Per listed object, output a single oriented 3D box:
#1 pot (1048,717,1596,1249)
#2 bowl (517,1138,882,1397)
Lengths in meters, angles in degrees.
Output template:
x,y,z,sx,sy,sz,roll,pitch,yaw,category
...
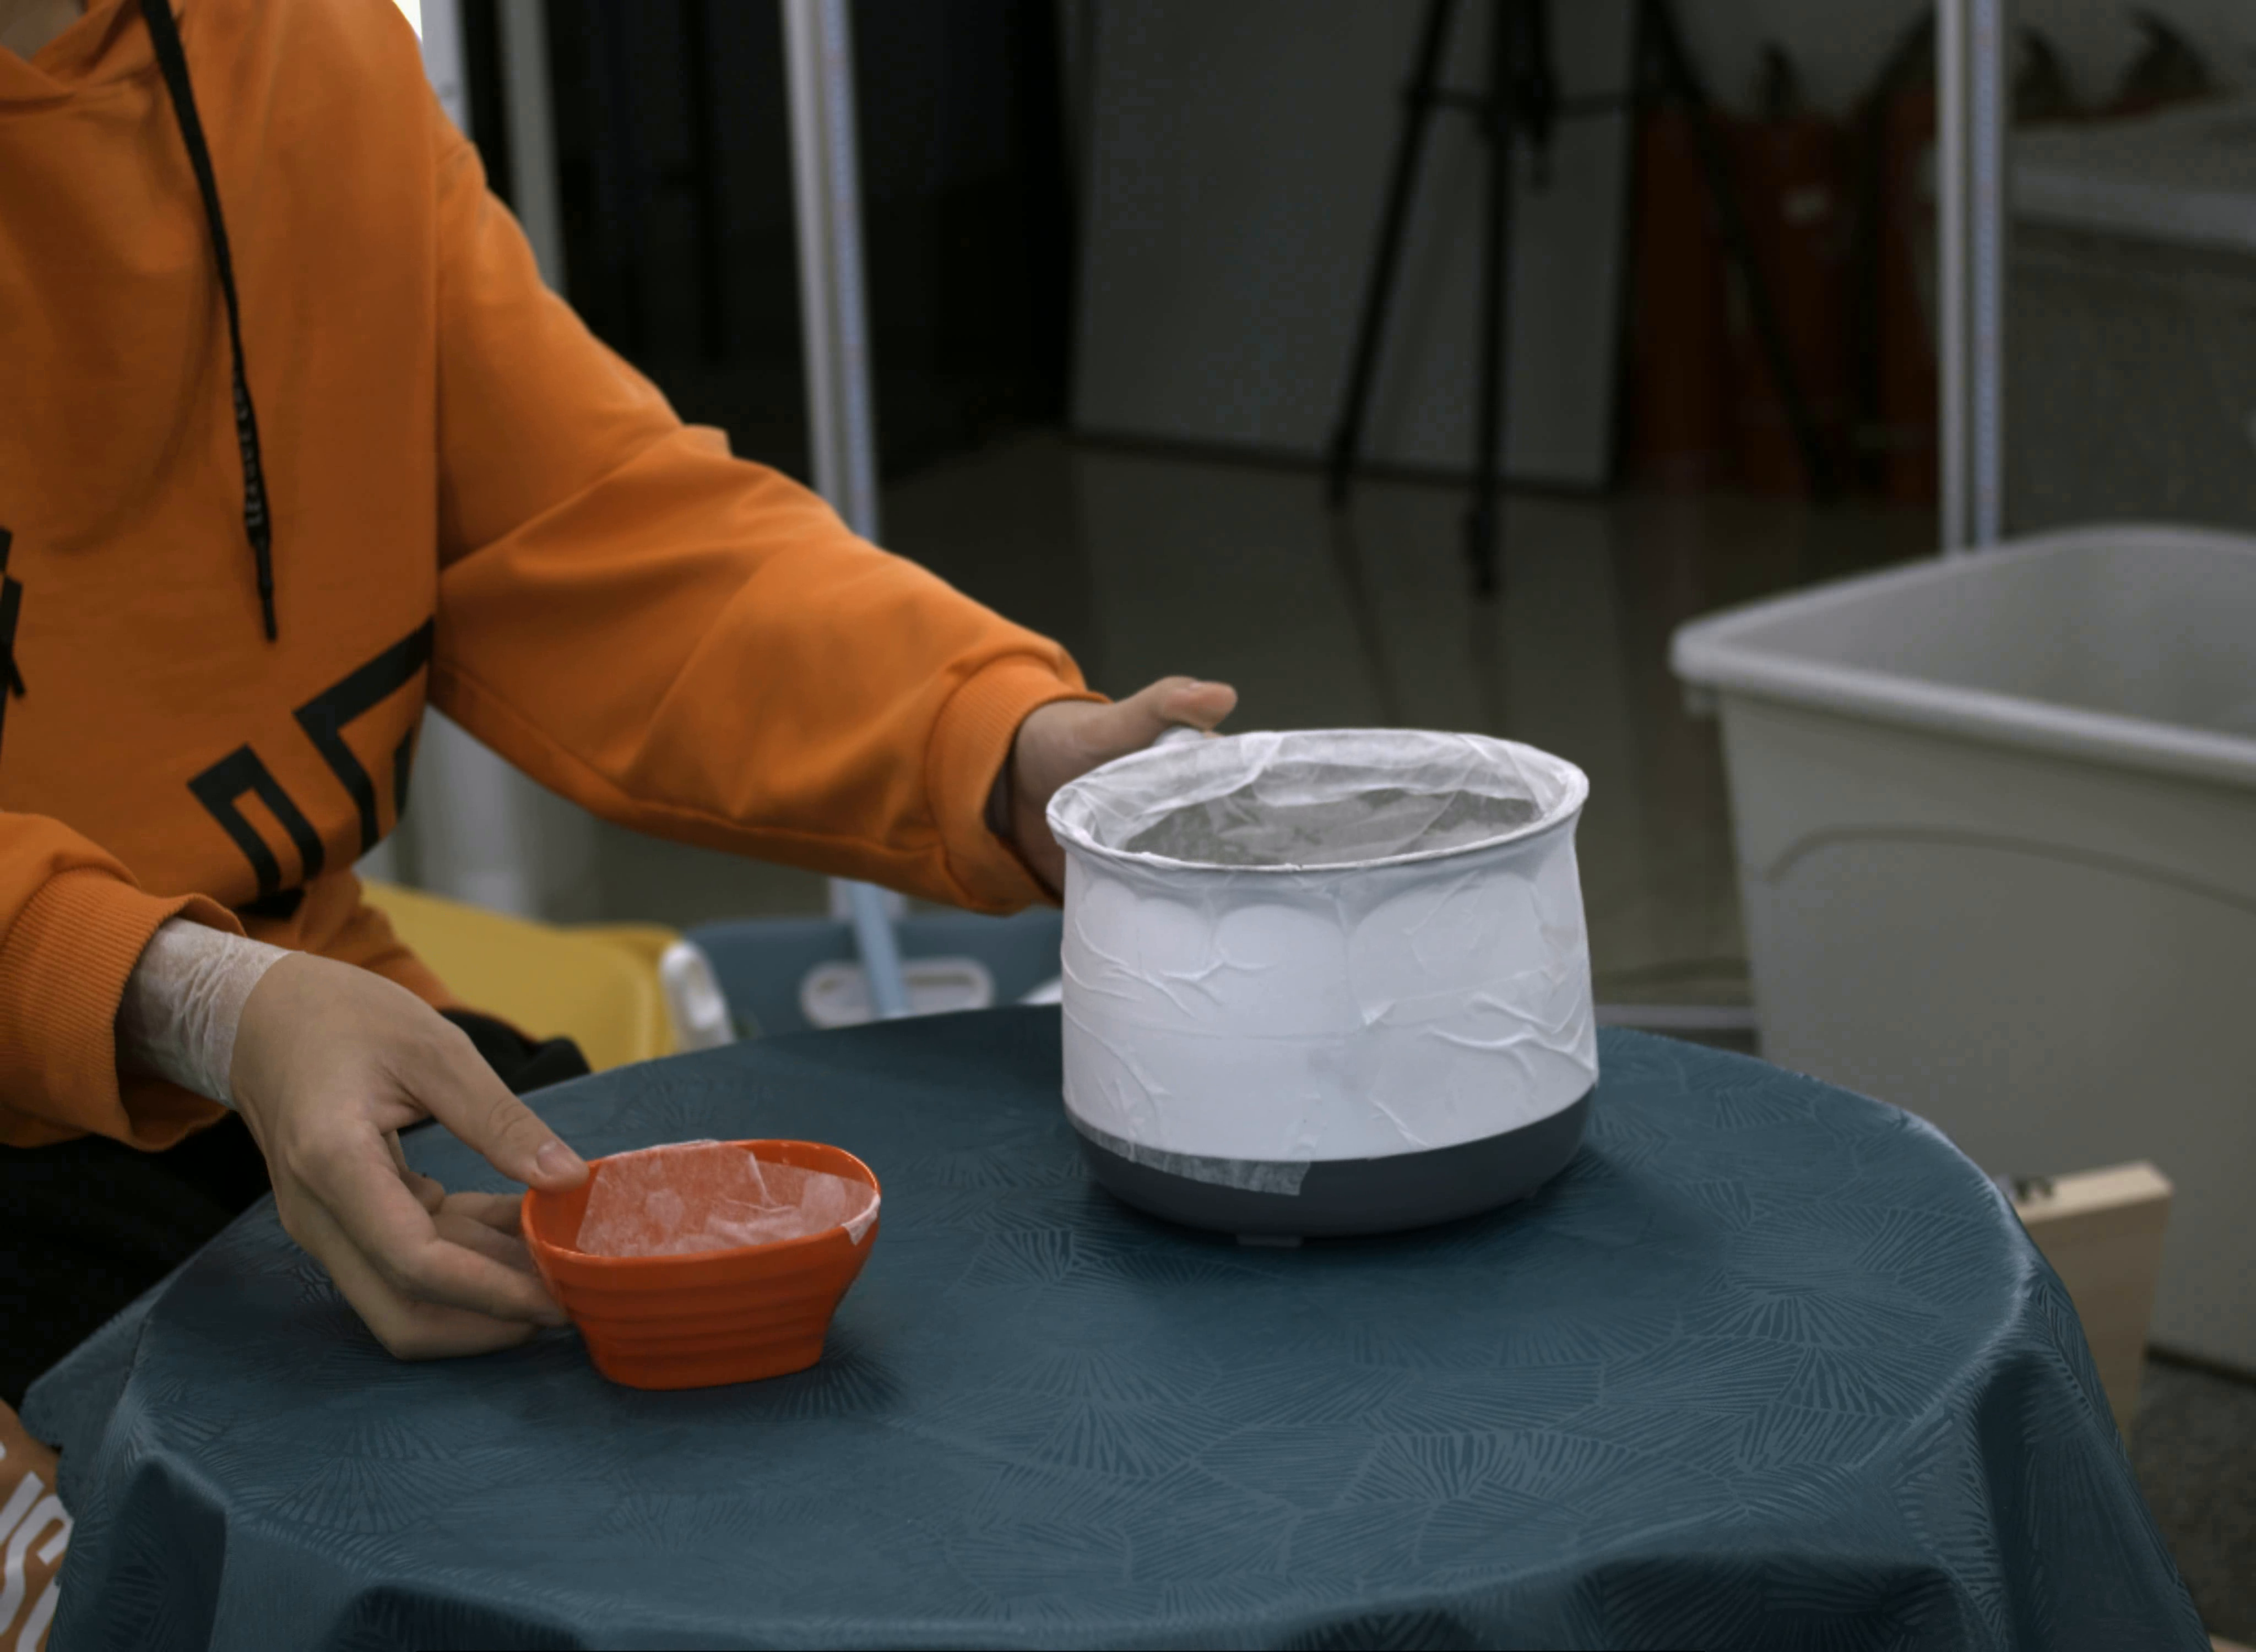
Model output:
x,y,z,sx,sy,sz,roll,pitch,yaw,category
0.051,0.045,1.775,0.175,0.138,0.236,-10,15,-25,pot
-0.128,0.136,1.641,0.117,0.052,0.119,-5,15,0,bowl
